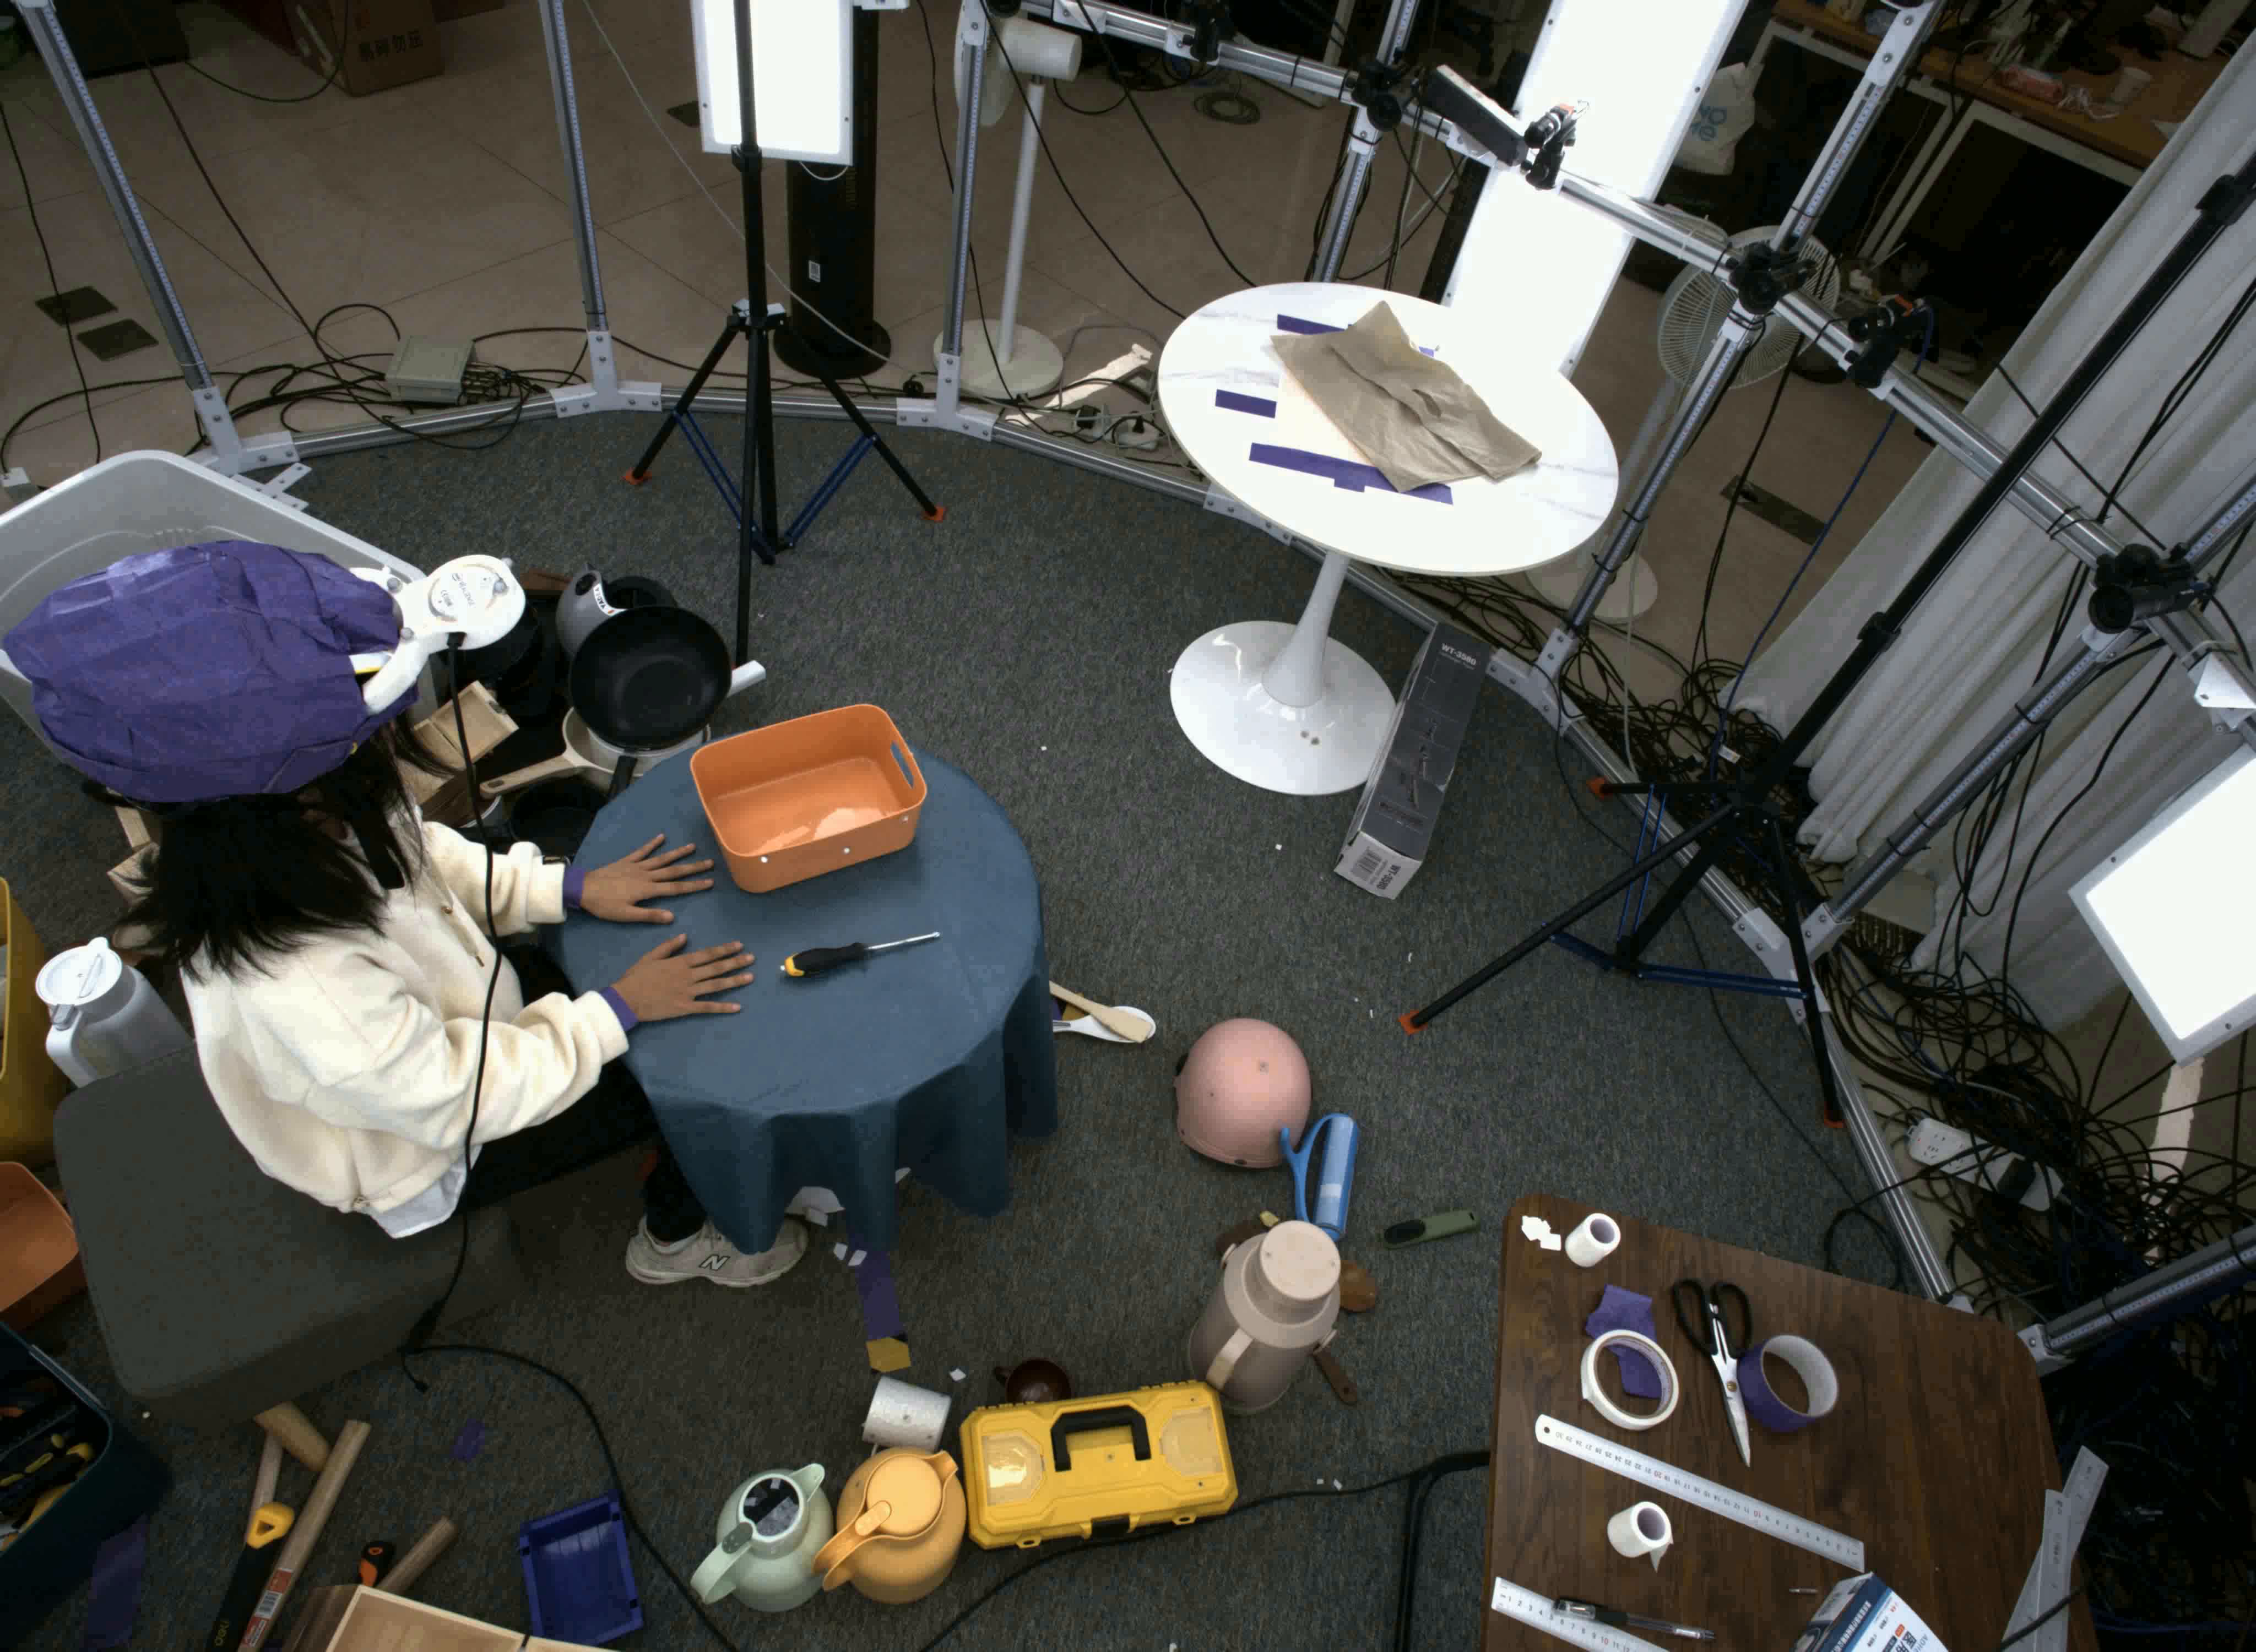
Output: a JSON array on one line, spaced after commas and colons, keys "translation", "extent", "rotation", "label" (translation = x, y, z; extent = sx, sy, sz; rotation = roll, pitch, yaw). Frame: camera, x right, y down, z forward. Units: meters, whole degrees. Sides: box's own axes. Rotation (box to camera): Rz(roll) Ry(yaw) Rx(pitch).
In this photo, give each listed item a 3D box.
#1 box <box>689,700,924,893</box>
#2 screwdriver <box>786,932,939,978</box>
[{"translation": [-0.416, -0.037, 1.681], "extent": [0.274, 0.104, 0.194], "rotation": [-19, 61, -27], "label": "box"}, {"translation": [-0.328, 0.157, 1.616], "extent": [0.198, 0.032, 0.030], "rotation": [-9, 55, -26], "label": "screwdriver"}]
